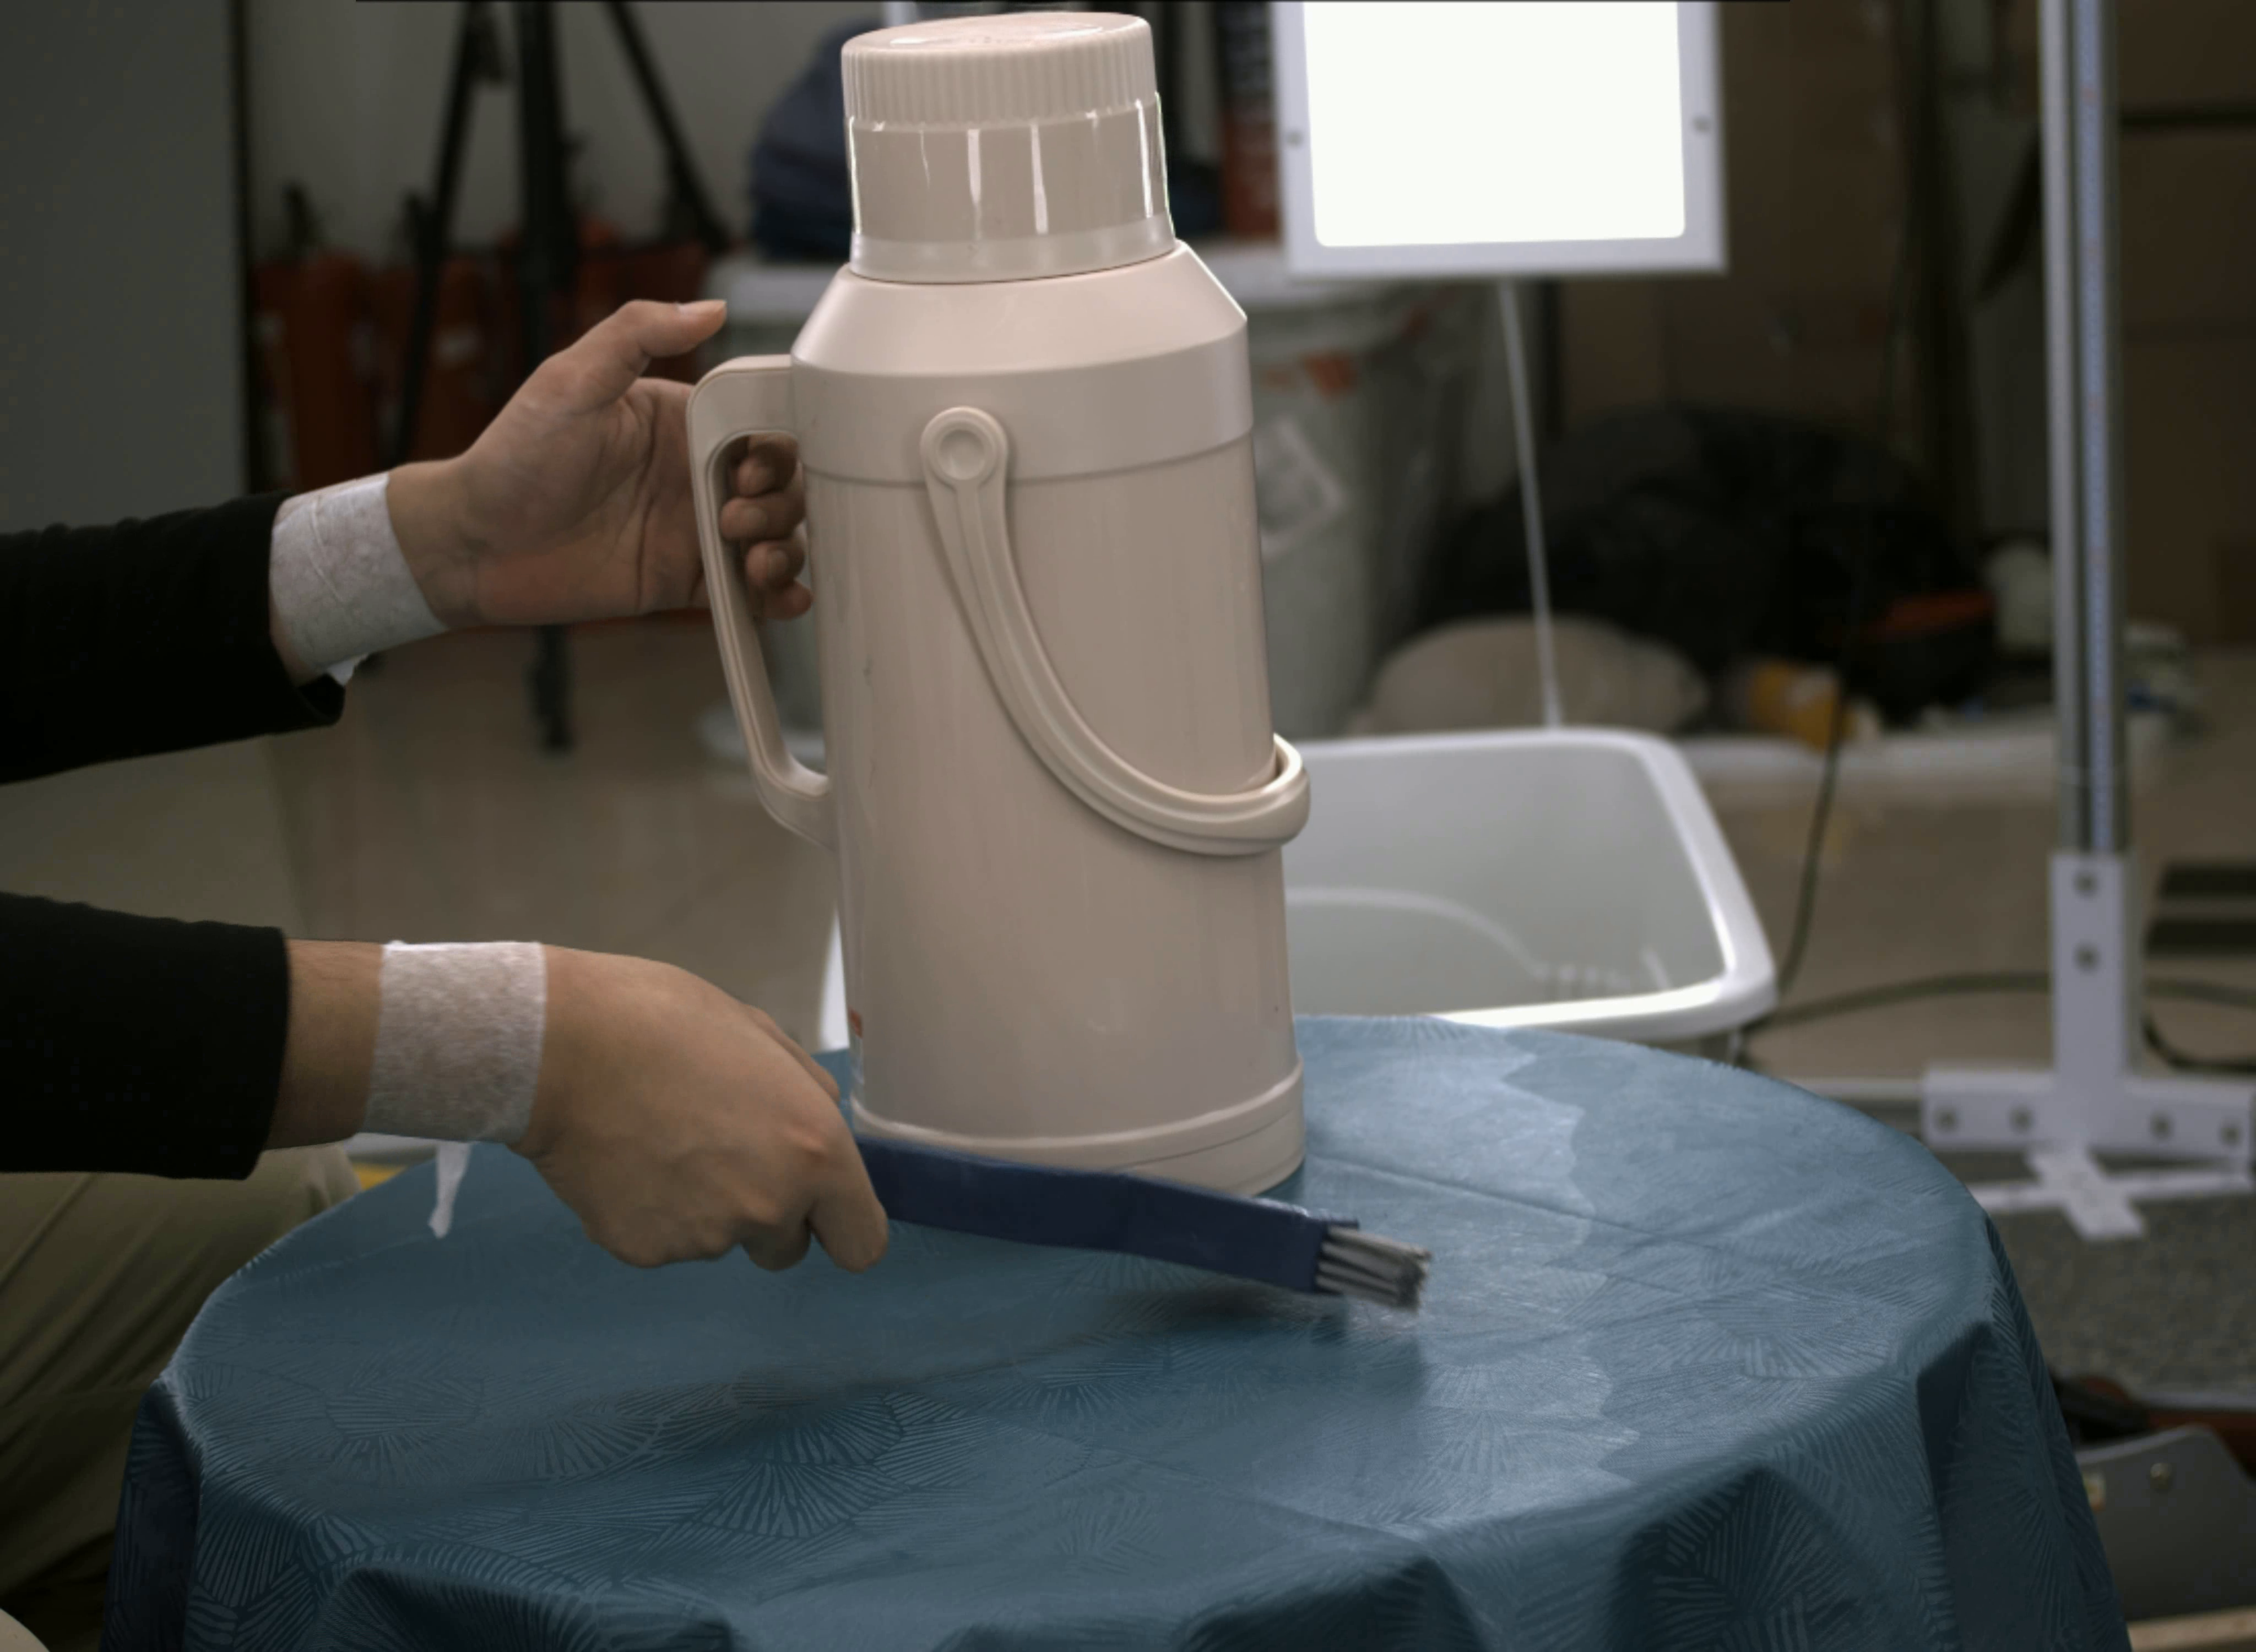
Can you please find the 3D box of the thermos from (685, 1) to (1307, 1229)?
[{"bbox_3d":[-0.044,-0.073,1.894,0.209,0.408,0.173,-1,16,14],"label":"thermos"}]

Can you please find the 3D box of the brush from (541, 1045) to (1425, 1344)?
[{"bbox_3d":[-0.046,0.116,1.723,0.269,0.033,0.097,12,5,-18],"label":"brush"}]
